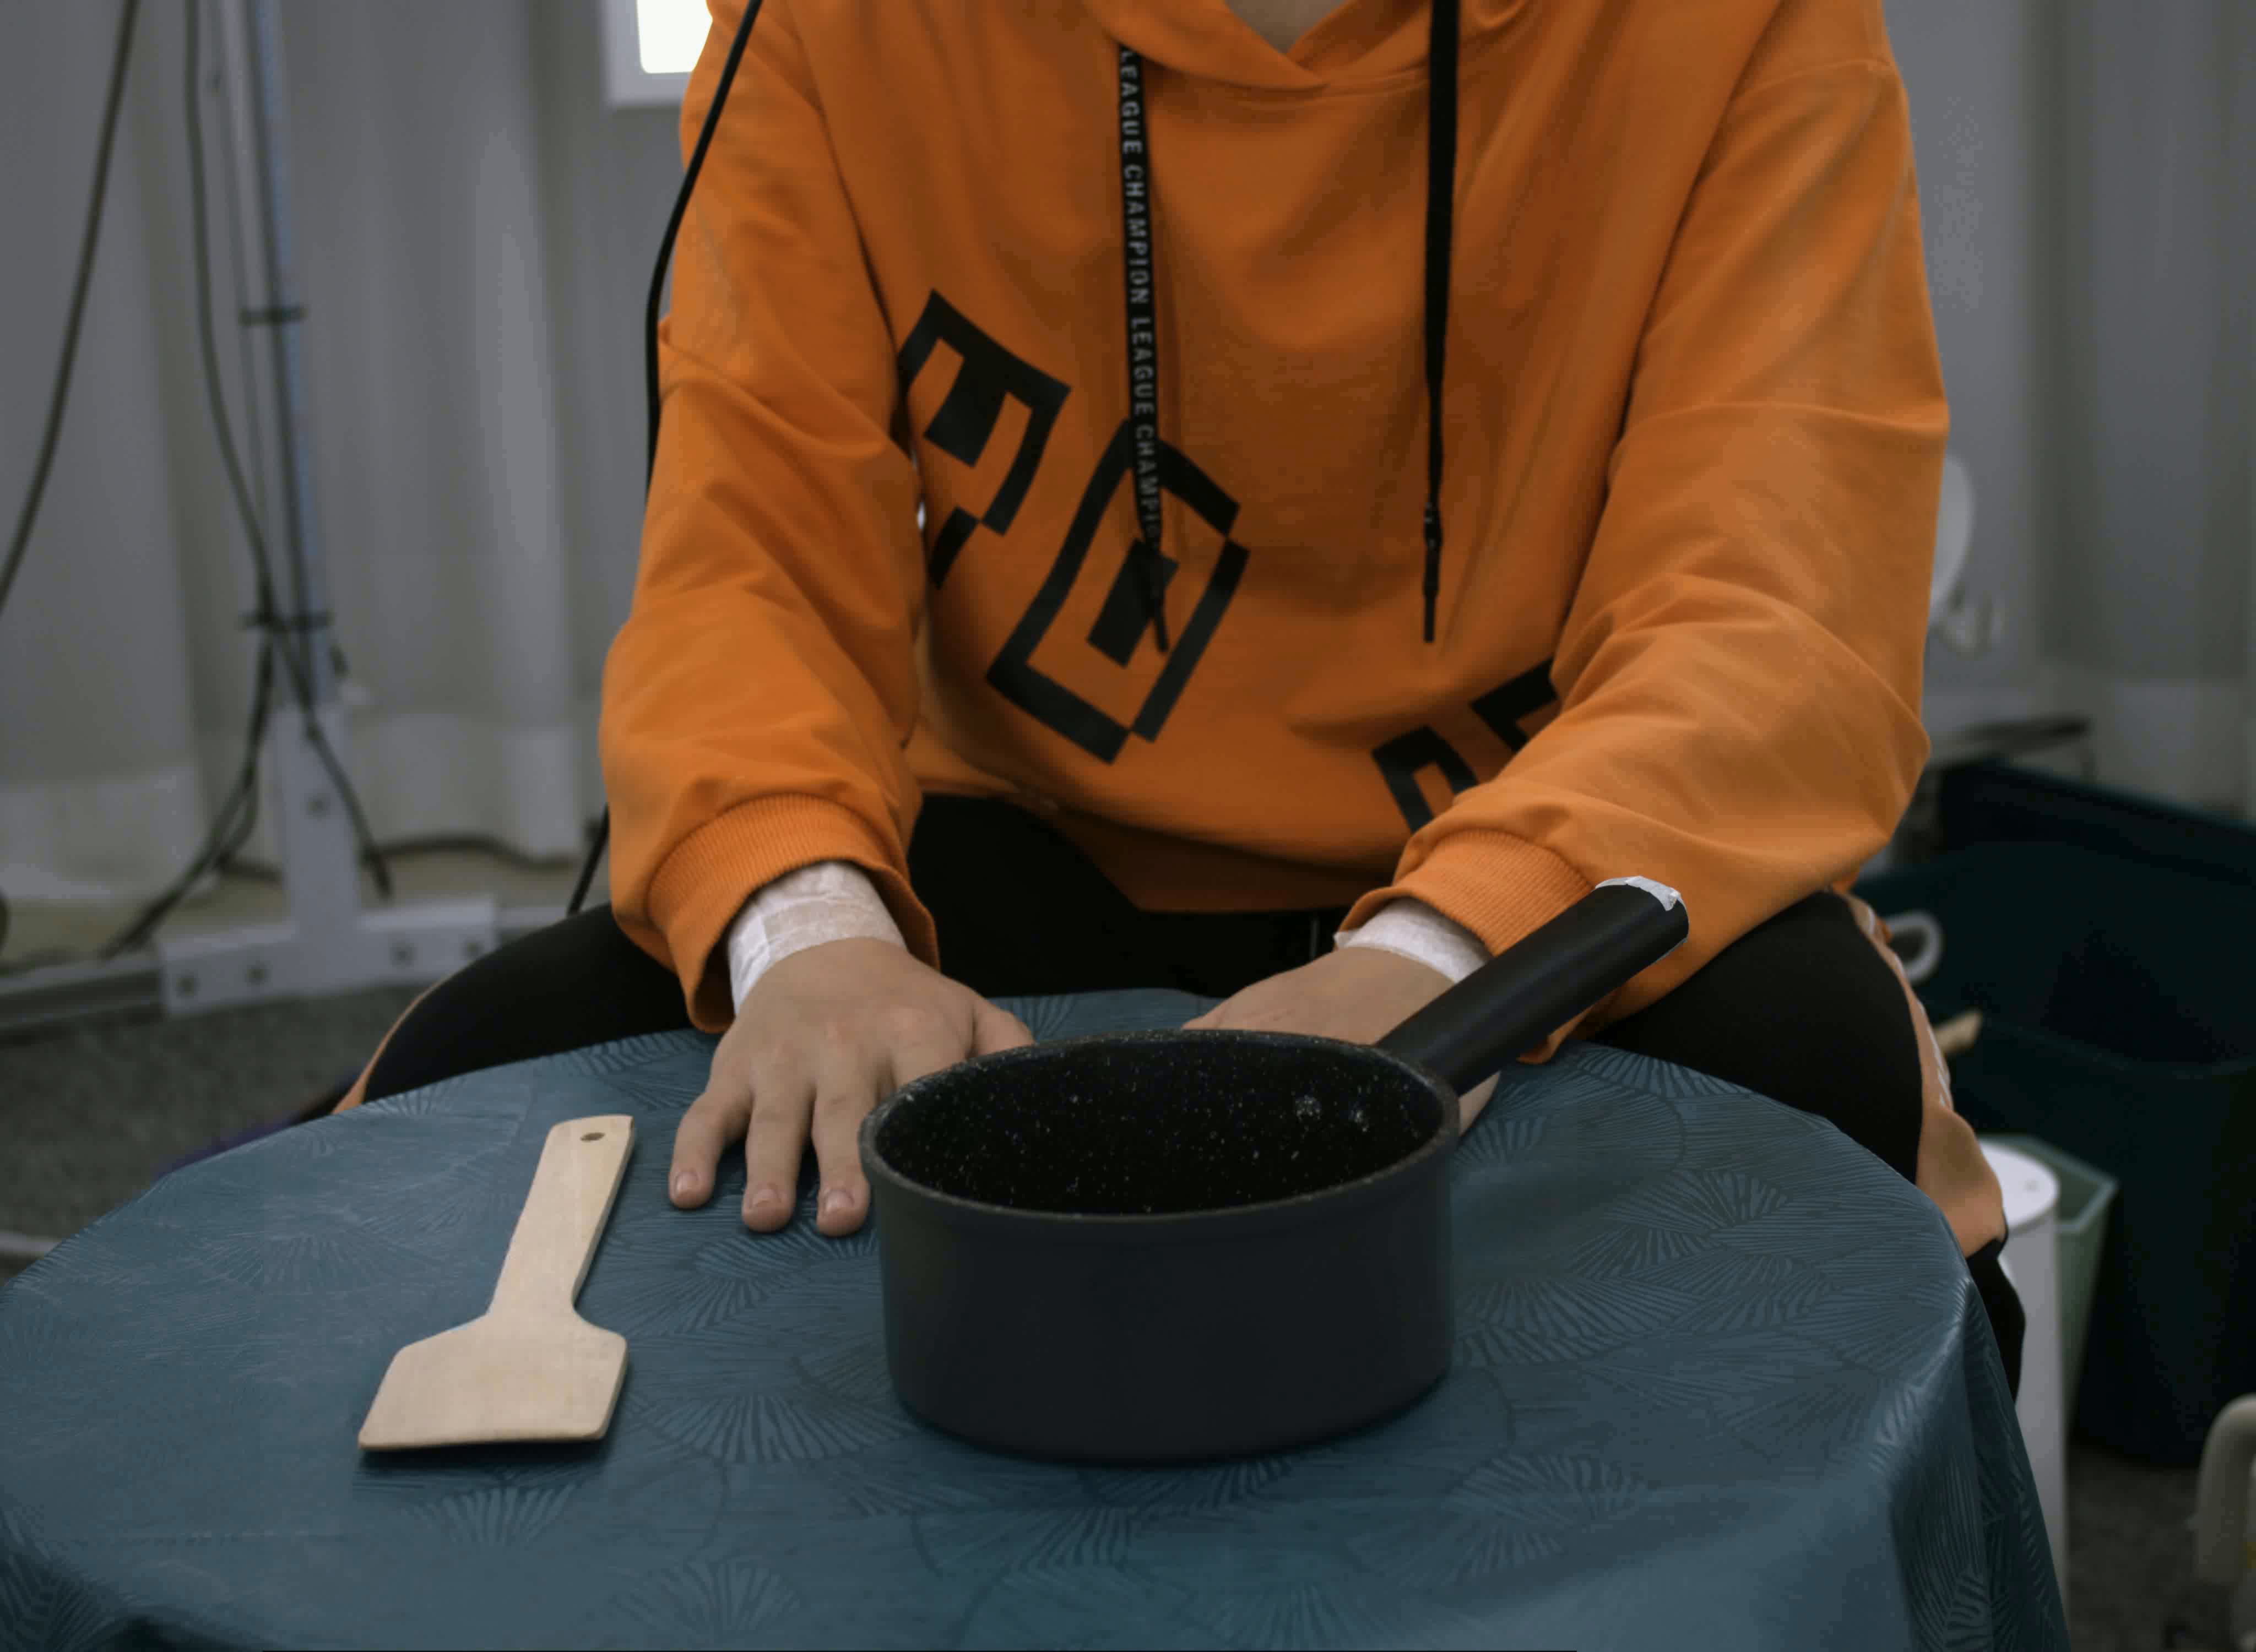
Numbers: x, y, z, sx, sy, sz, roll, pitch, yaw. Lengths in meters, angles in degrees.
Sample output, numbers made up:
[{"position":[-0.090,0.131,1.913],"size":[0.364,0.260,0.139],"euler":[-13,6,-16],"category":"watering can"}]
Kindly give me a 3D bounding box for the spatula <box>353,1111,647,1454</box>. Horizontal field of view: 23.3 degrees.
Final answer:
[{"position":[-0.177,0.135,1.657],"size":[0.072,0.010,0.295],"euler":[-6,15,4],"category":"spatula"}]

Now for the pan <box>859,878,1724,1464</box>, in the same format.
[{"position":[0.064,0.097,1.607],"size":[0.173,0.086,0.328],"euler":[12,22,42],"category":"pan"}]
